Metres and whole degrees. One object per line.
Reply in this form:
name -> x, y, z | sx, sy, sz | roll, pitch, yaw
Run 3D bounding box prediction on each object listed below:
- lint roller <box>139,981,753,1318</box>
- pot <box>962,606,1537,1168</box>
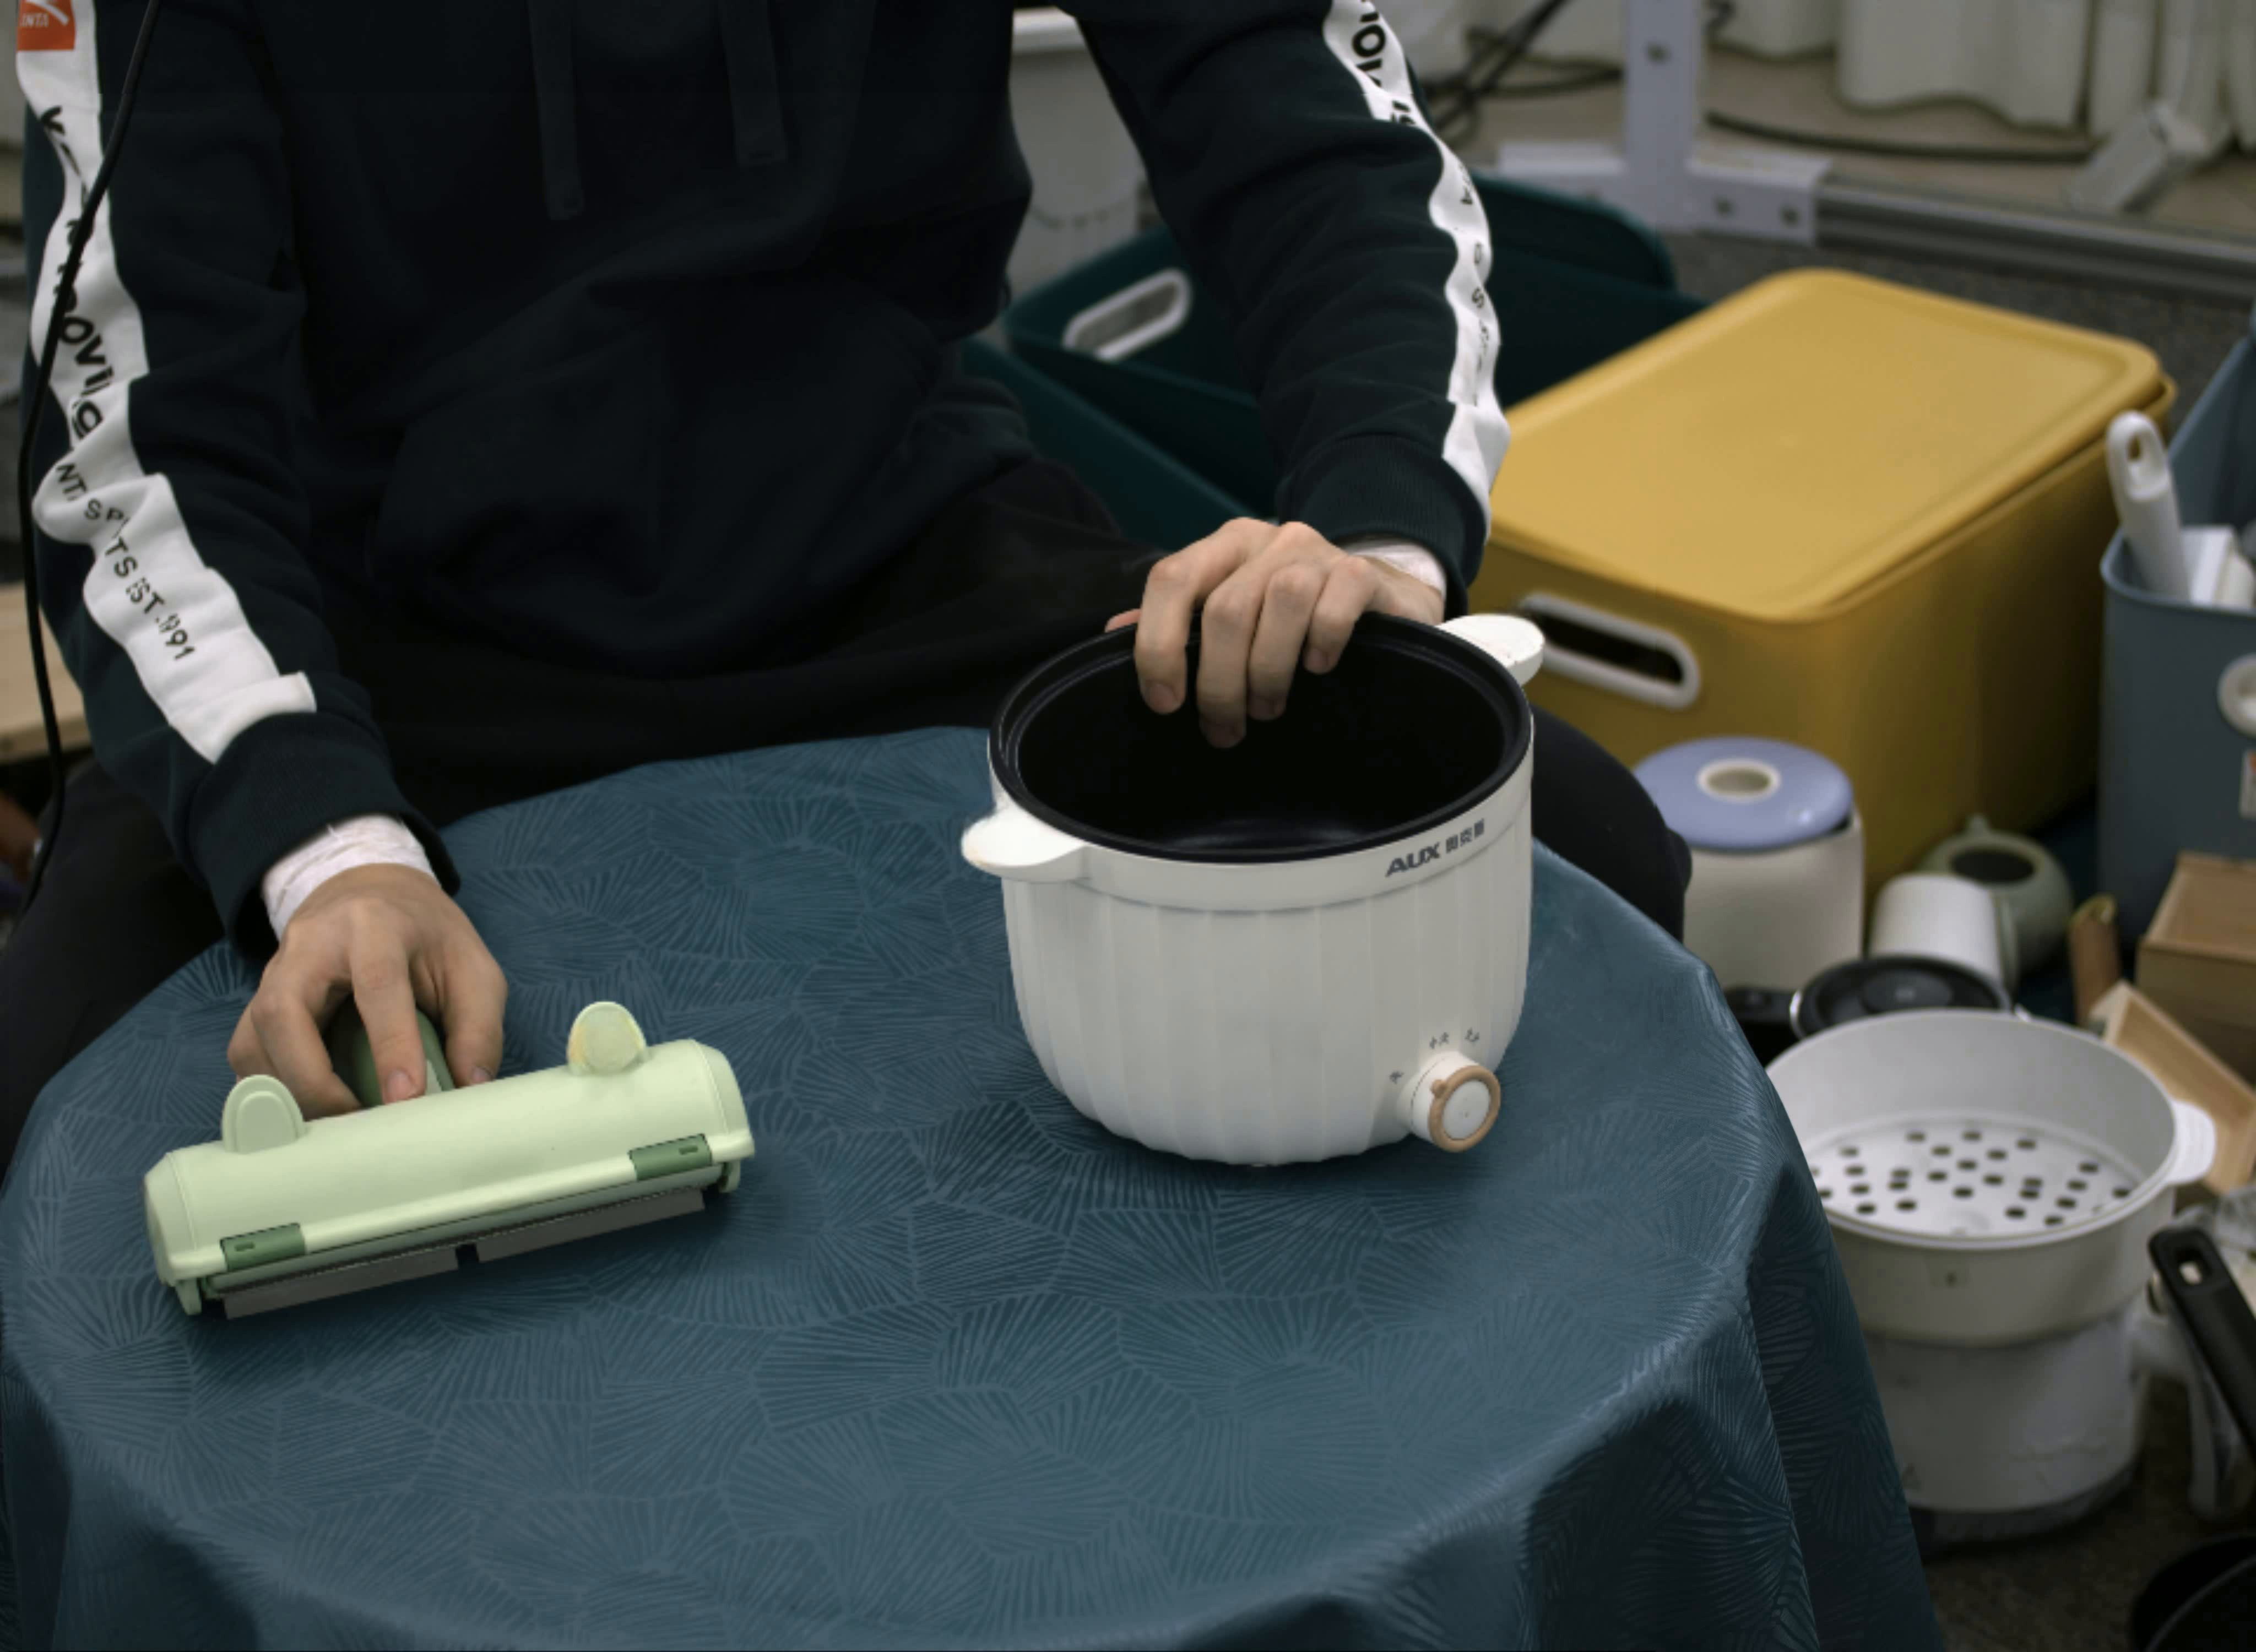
lint roller -> -0.241, 0.081, 1.880 | 0.199, 0.081, 0.185 | -12, 34, -16
pot -> 0.051, 0.026, 1.892 | 0.243, 0.141, 0.190 | -24, 30, -33
